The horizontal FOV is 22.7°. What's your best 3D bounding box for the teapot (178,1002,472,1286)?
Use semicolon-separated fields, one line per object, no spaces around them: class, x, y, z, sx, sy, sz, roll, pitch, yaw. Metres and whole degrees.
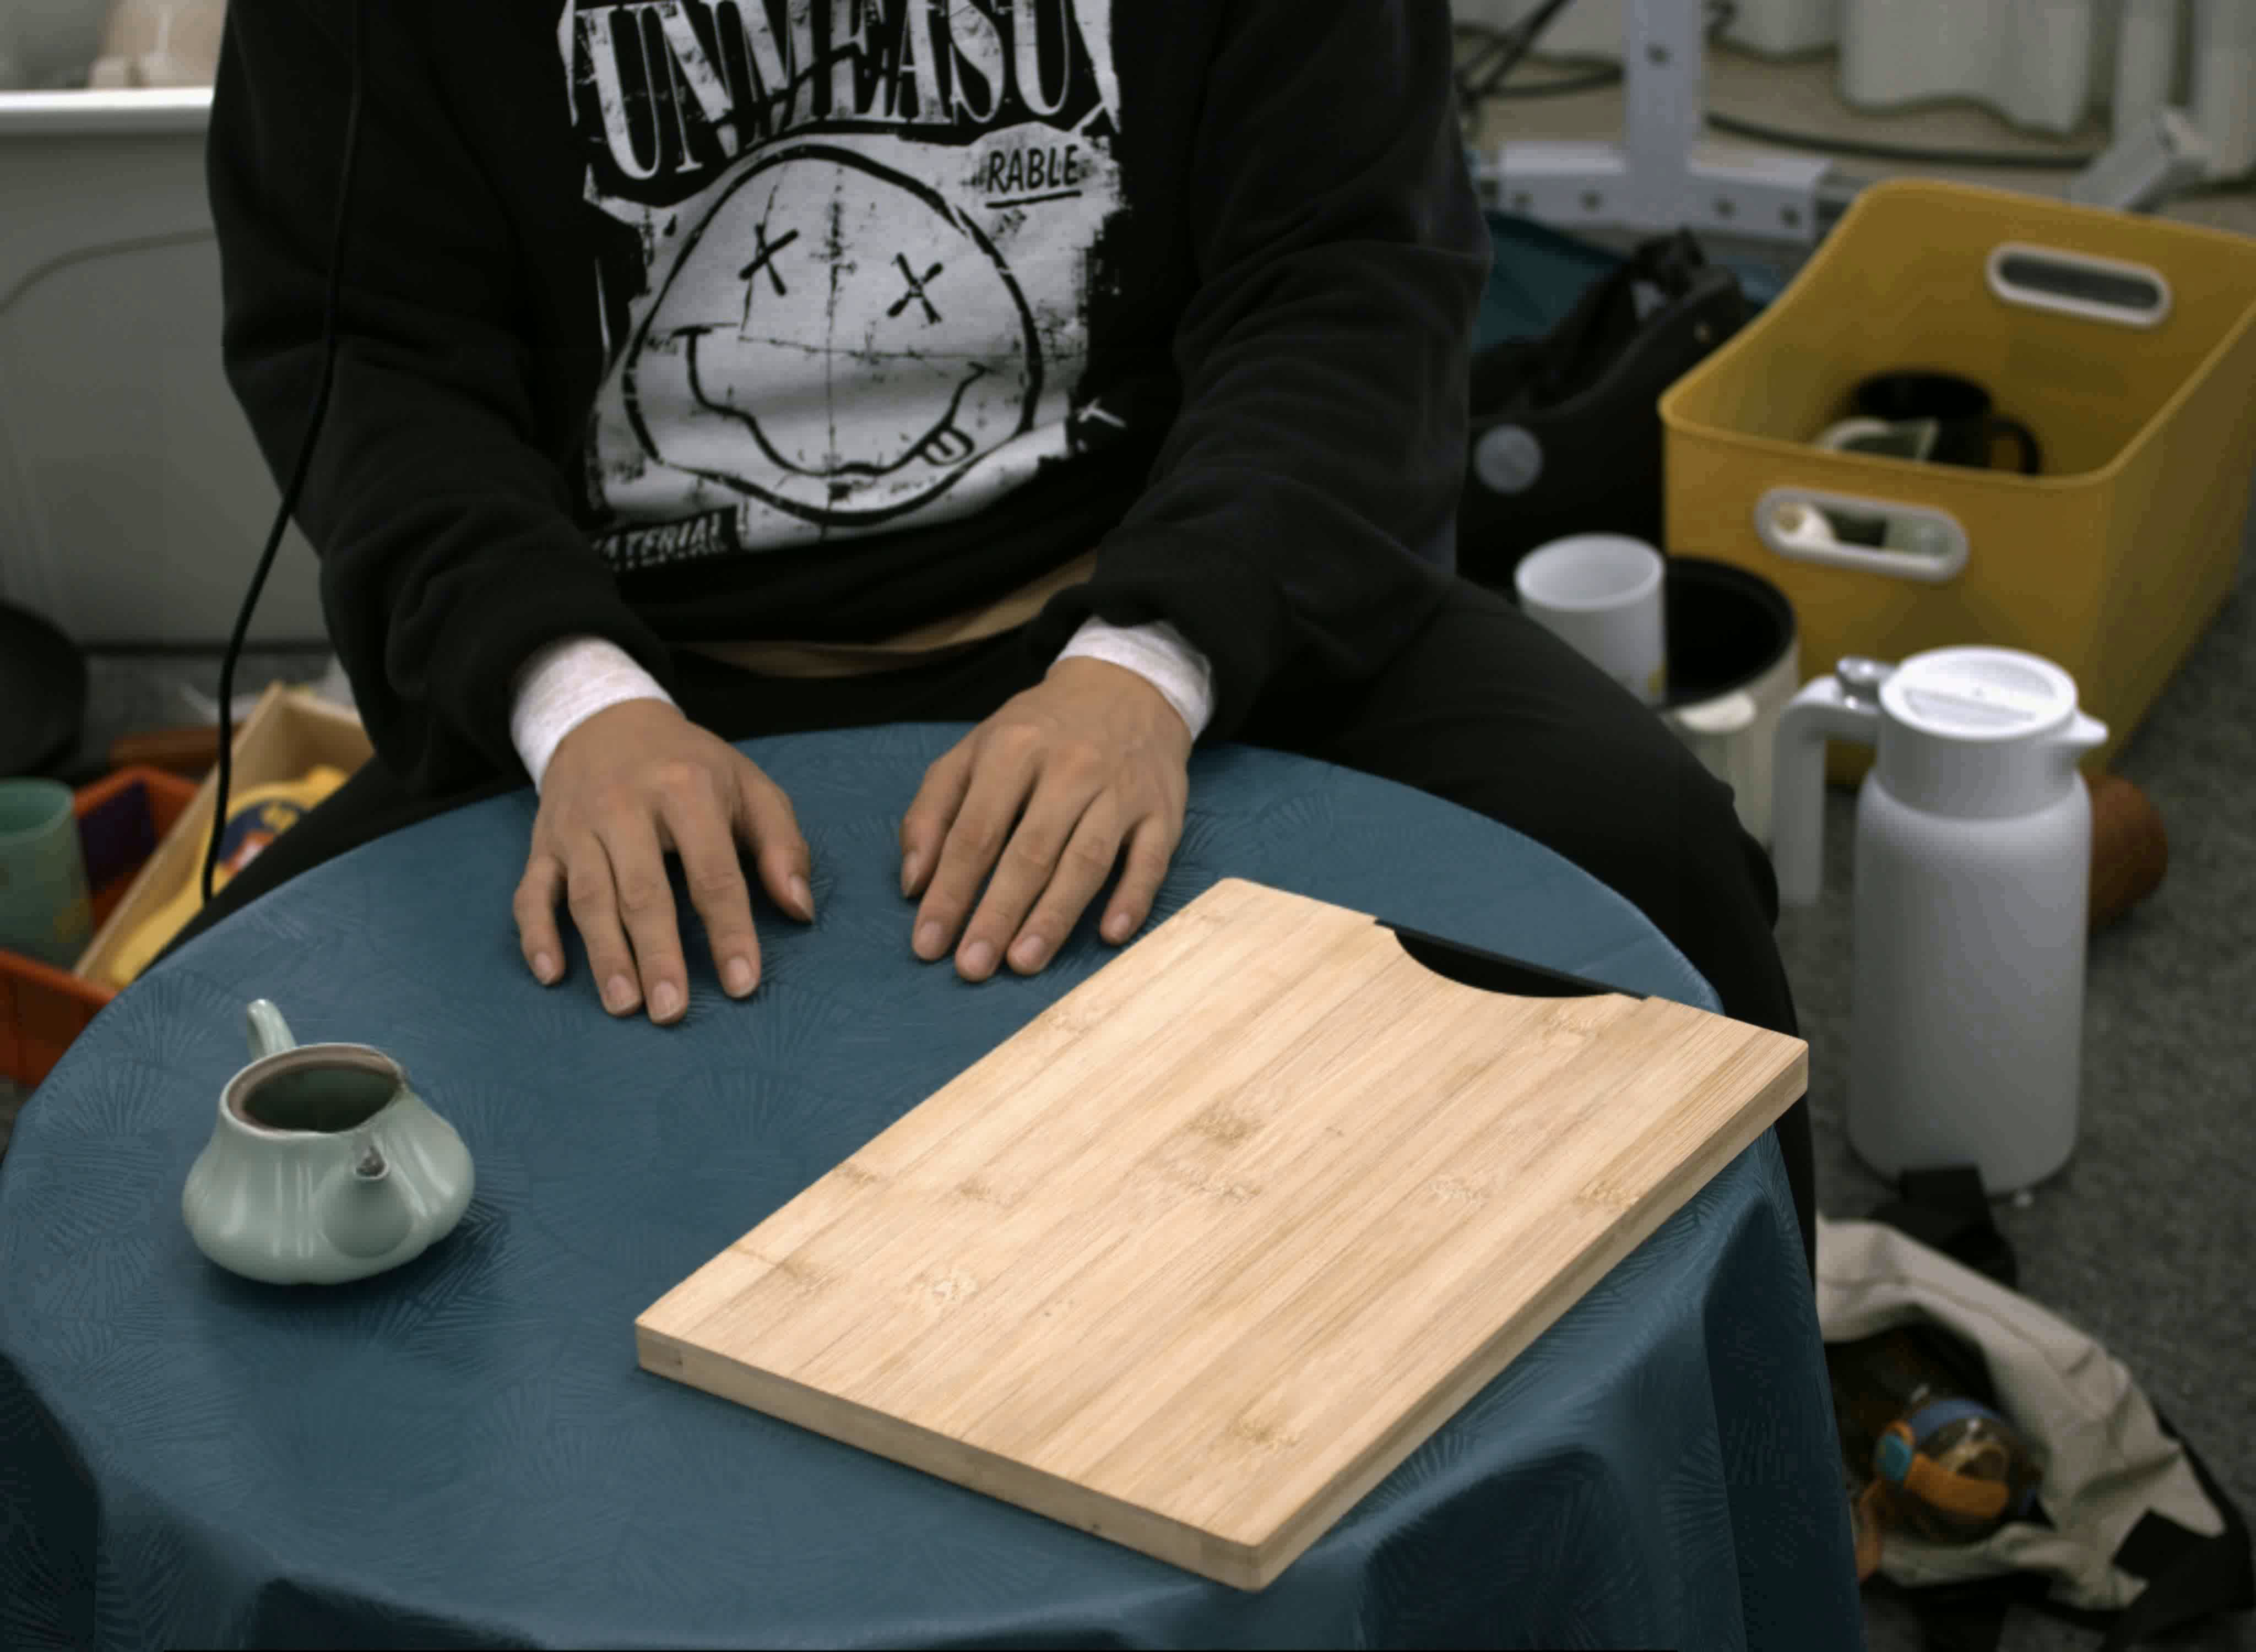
teapot;-0.267;0.108;1.846;0.097;0.061;0.137;-17;31;-23

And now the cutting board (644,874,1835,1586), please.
cutting board;0.040;0.121;1.838;0.249;0.023;0.354;15;32;30
